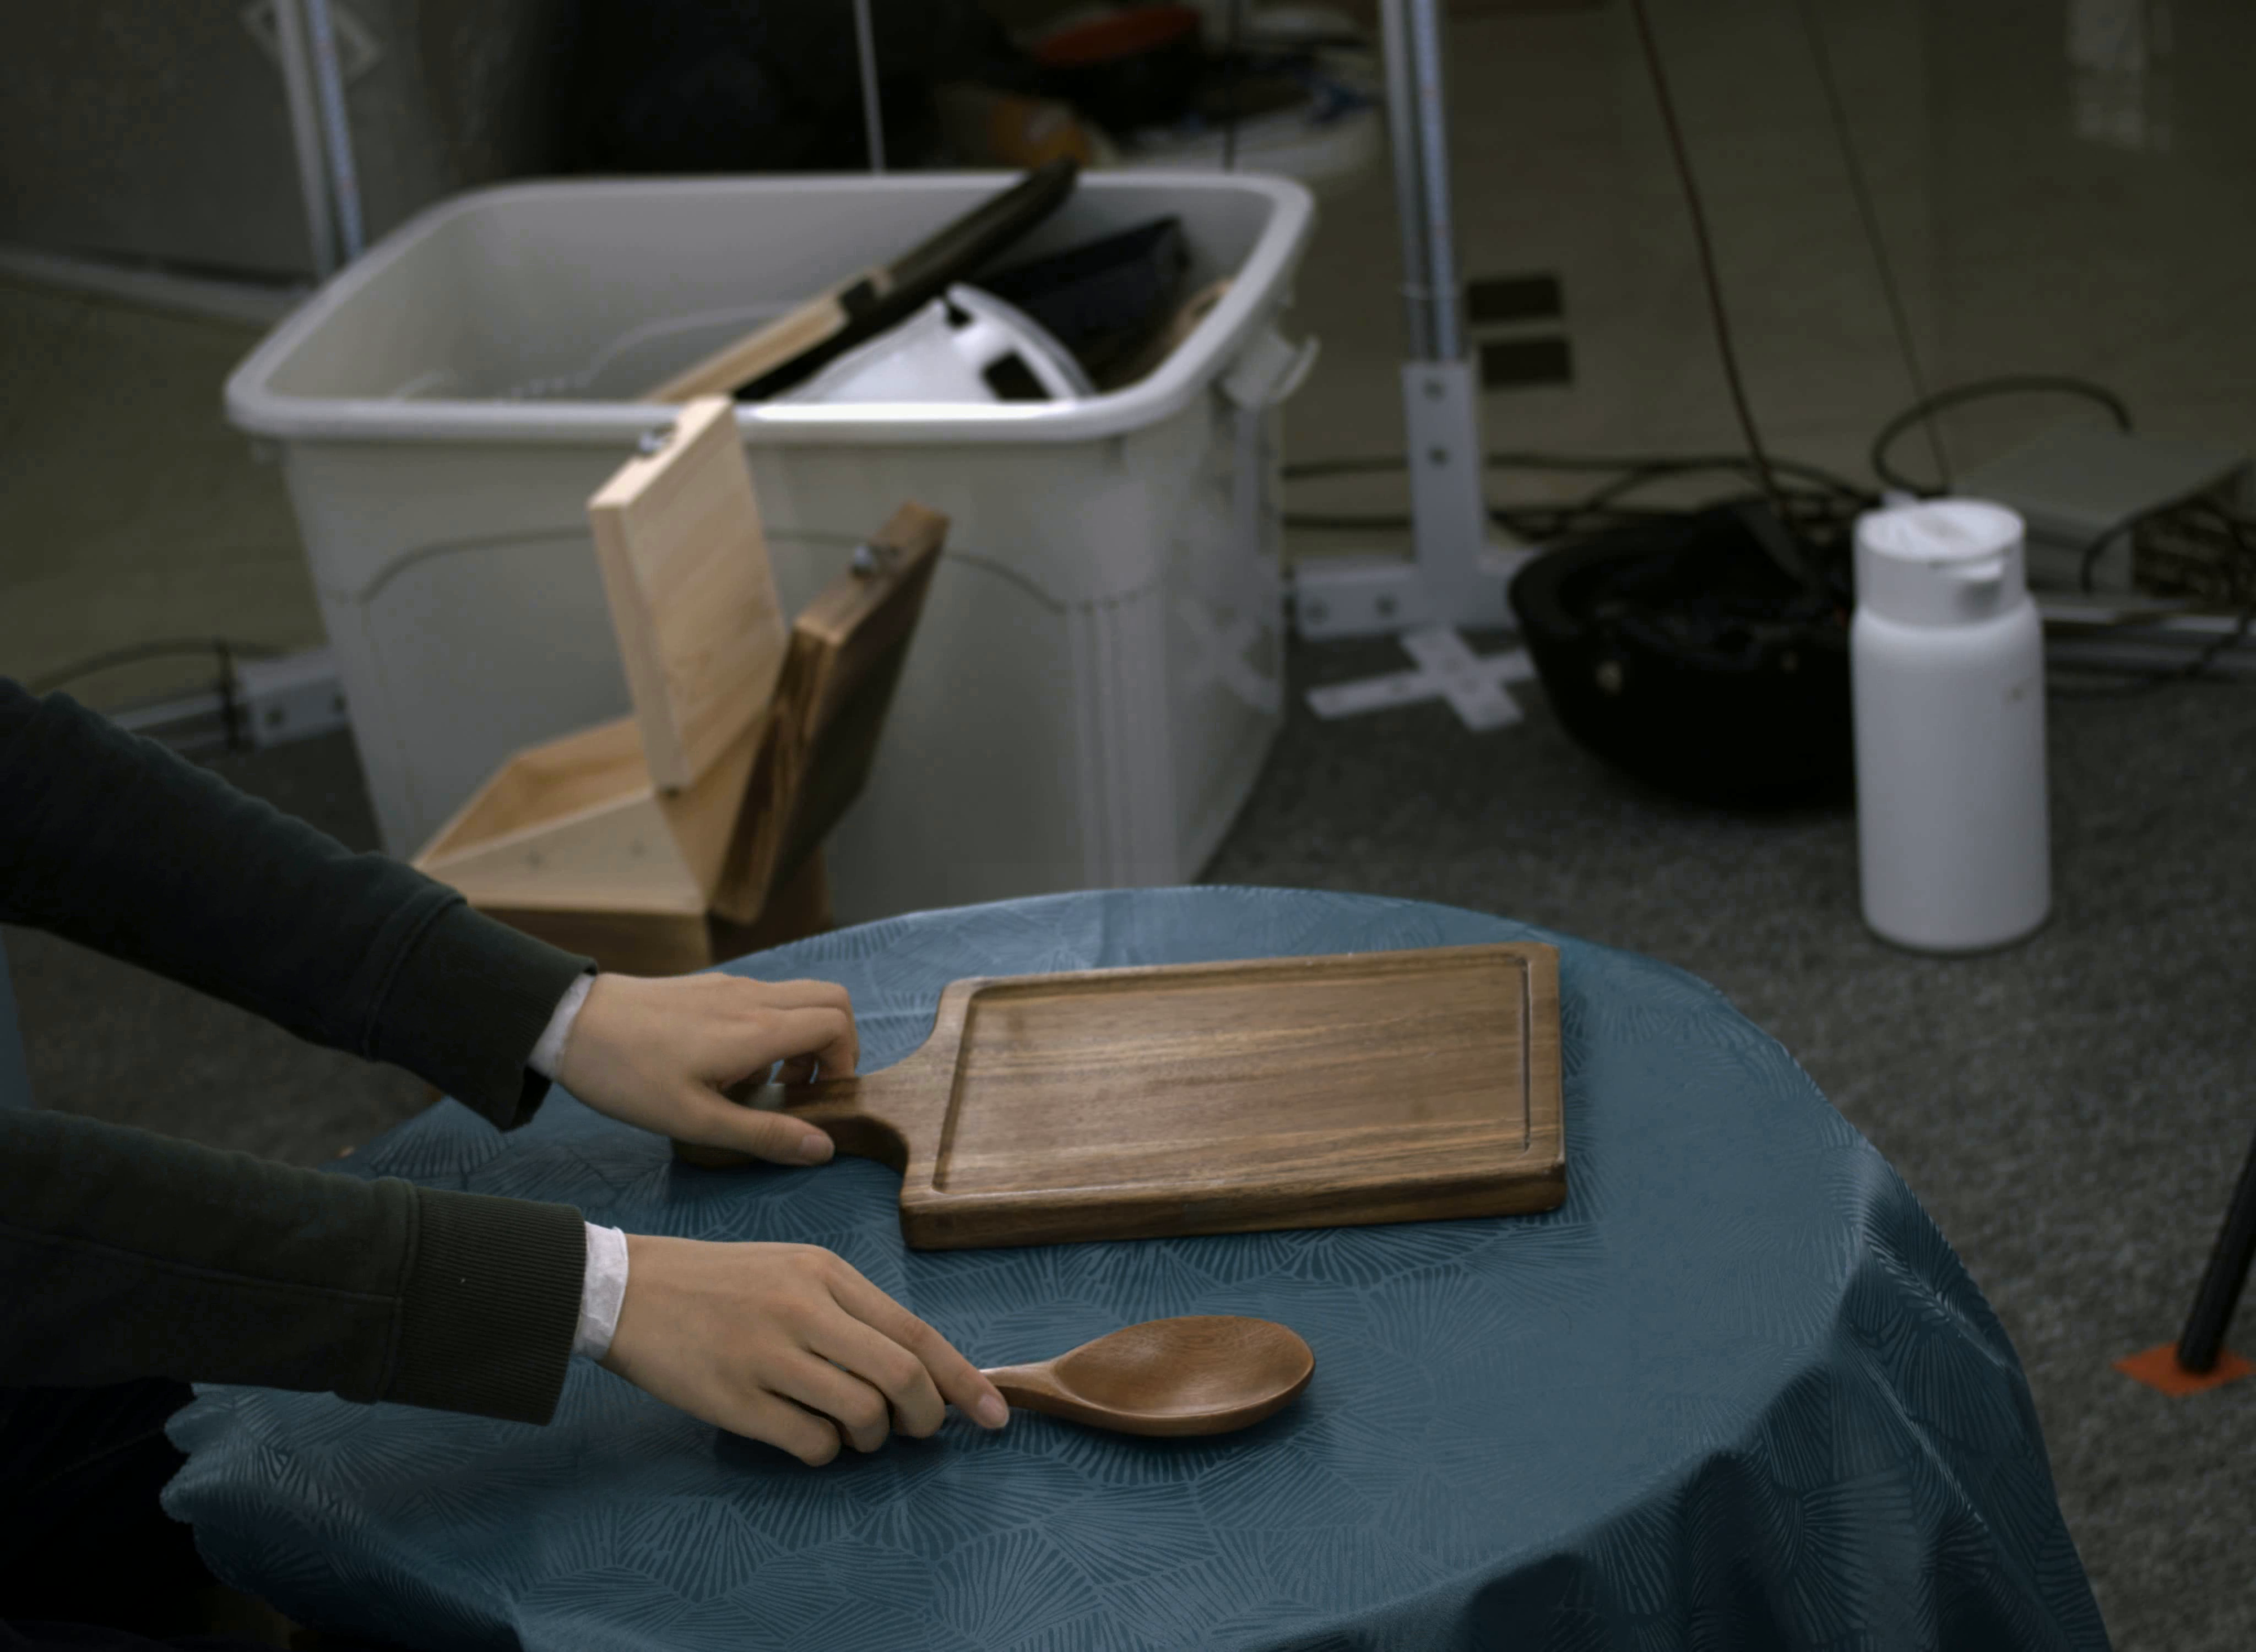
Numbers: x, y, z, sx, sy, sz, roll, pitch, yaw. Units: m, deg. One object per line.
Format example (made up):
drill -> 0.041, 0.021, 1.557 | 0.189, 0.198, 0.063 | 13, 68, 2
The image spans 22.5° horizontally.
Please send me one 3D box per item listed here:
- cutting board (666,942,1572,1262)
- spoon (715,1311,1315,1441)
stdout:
cutting board -> -0.005, 0.108, 2.201 | 0.351, 0.023, 0.198 | -4, 26, 6
spoon -> -0.040, 0.199, 2.013 | 0.215, 0.017, 0.074 | -2, 27, 8
